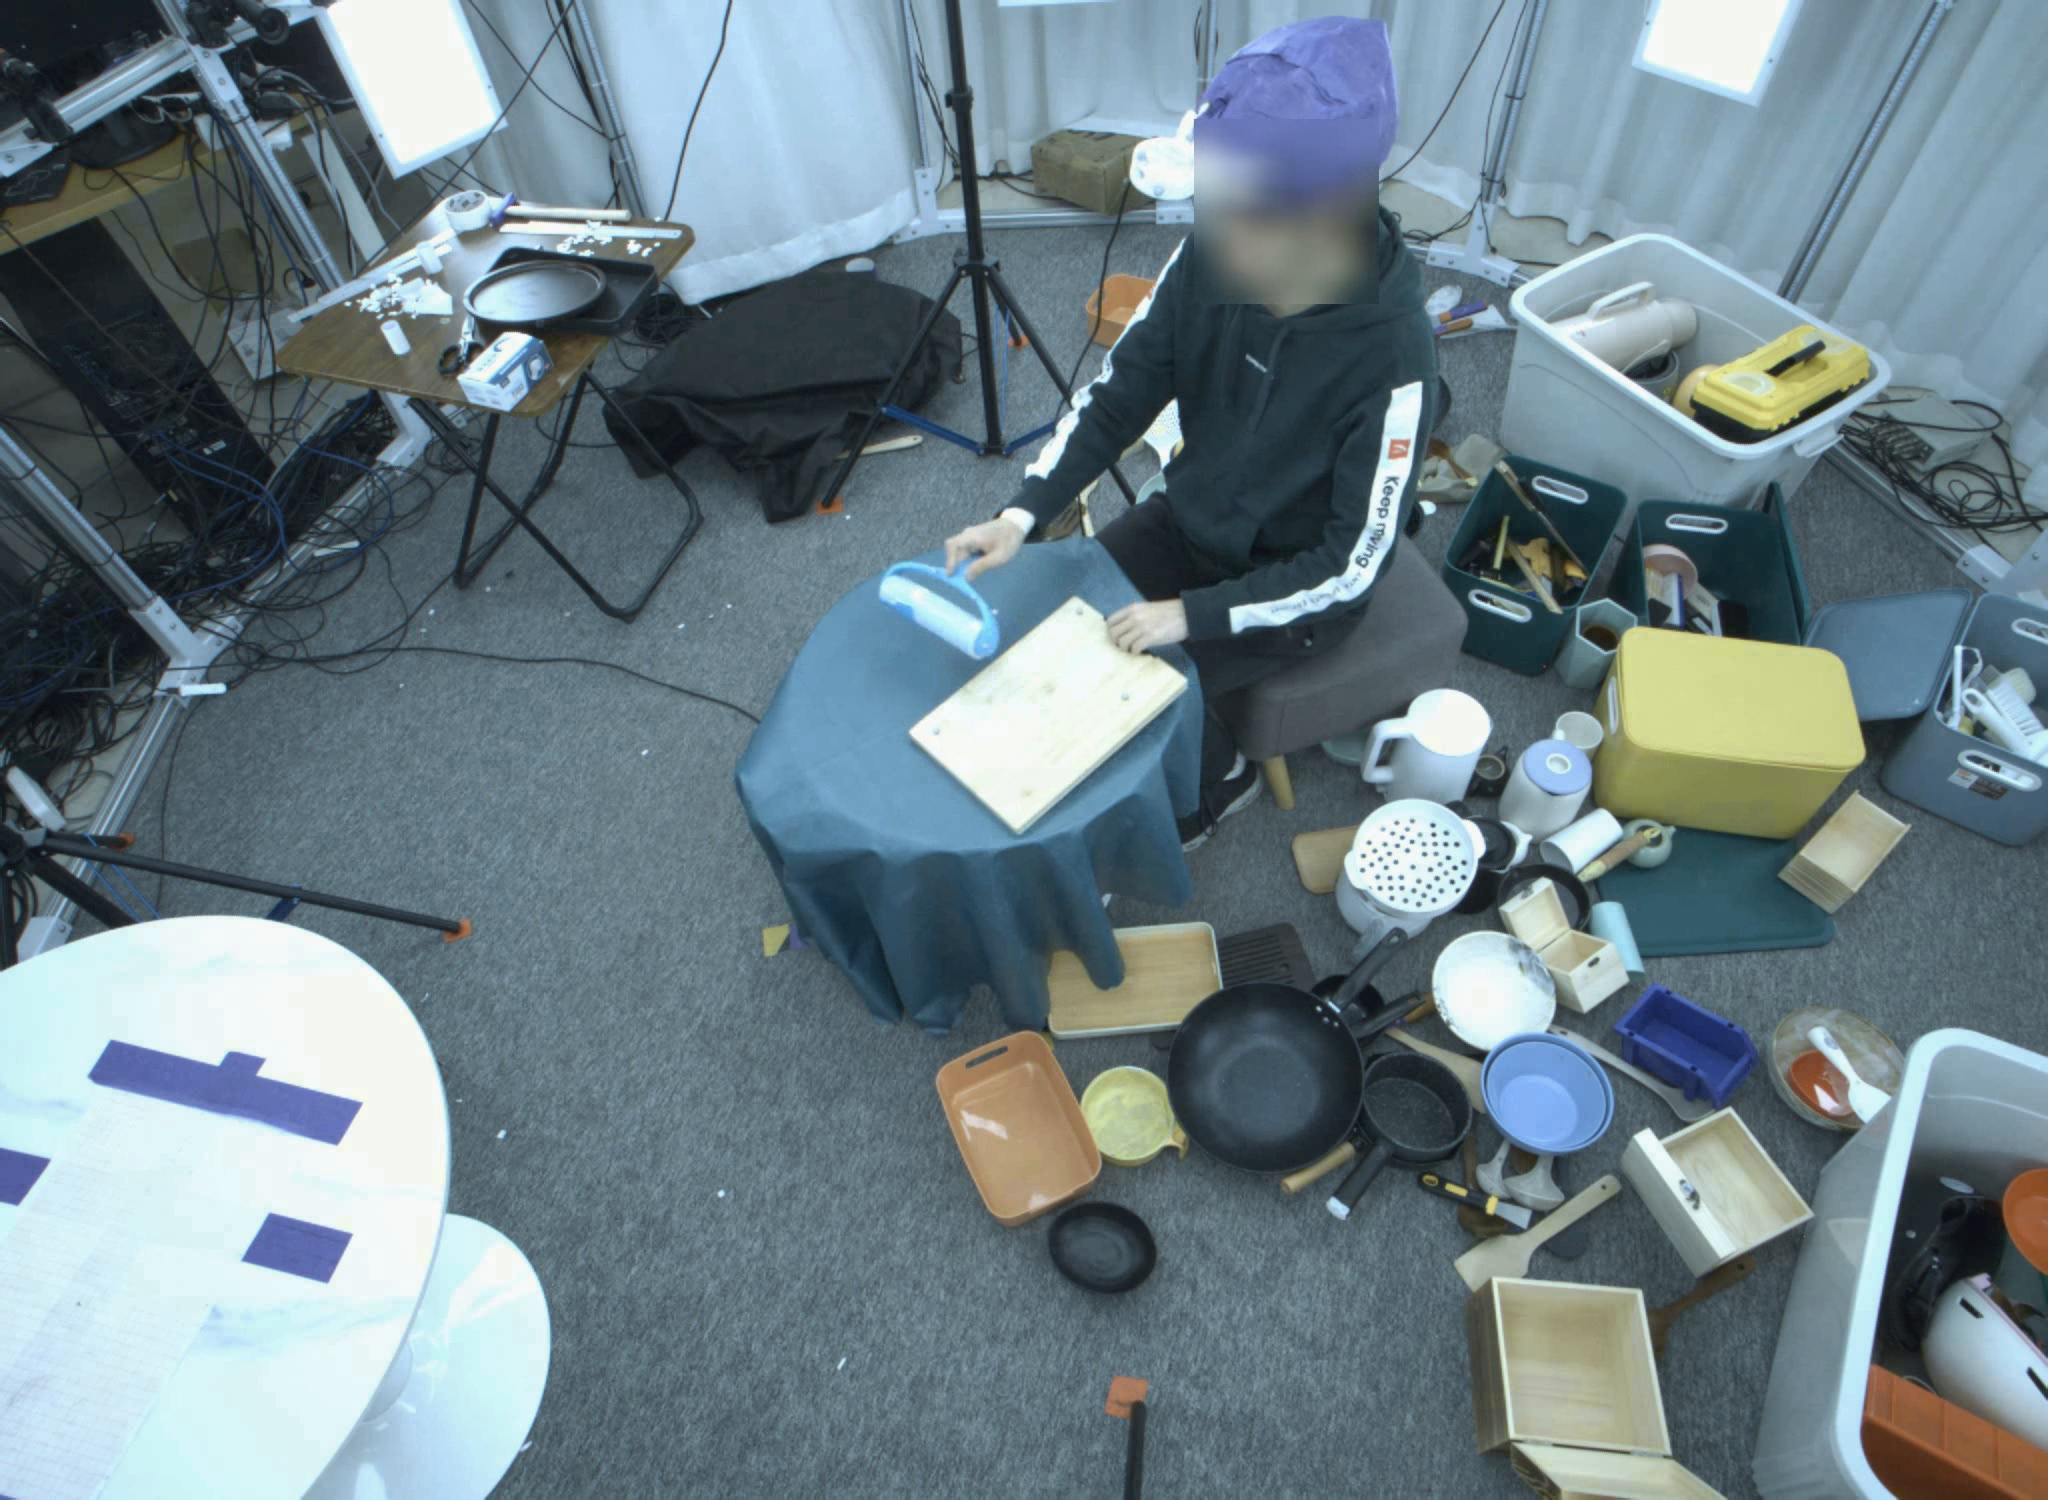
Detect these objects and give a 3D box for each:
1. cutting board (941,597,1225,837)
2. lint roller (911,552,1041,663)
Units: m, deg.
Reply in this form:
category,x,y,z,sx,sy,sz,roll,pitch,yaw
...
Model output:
category,x,y,z,sx,sy,sz,roll,pitch,yaw
cutting board,0.083,-0.057,1.789,0.350,0.024,0.246,-40,63,-16
lint roller,-0.046,-0.238,1.801,0.224,0.069,0.180,29,75,30
